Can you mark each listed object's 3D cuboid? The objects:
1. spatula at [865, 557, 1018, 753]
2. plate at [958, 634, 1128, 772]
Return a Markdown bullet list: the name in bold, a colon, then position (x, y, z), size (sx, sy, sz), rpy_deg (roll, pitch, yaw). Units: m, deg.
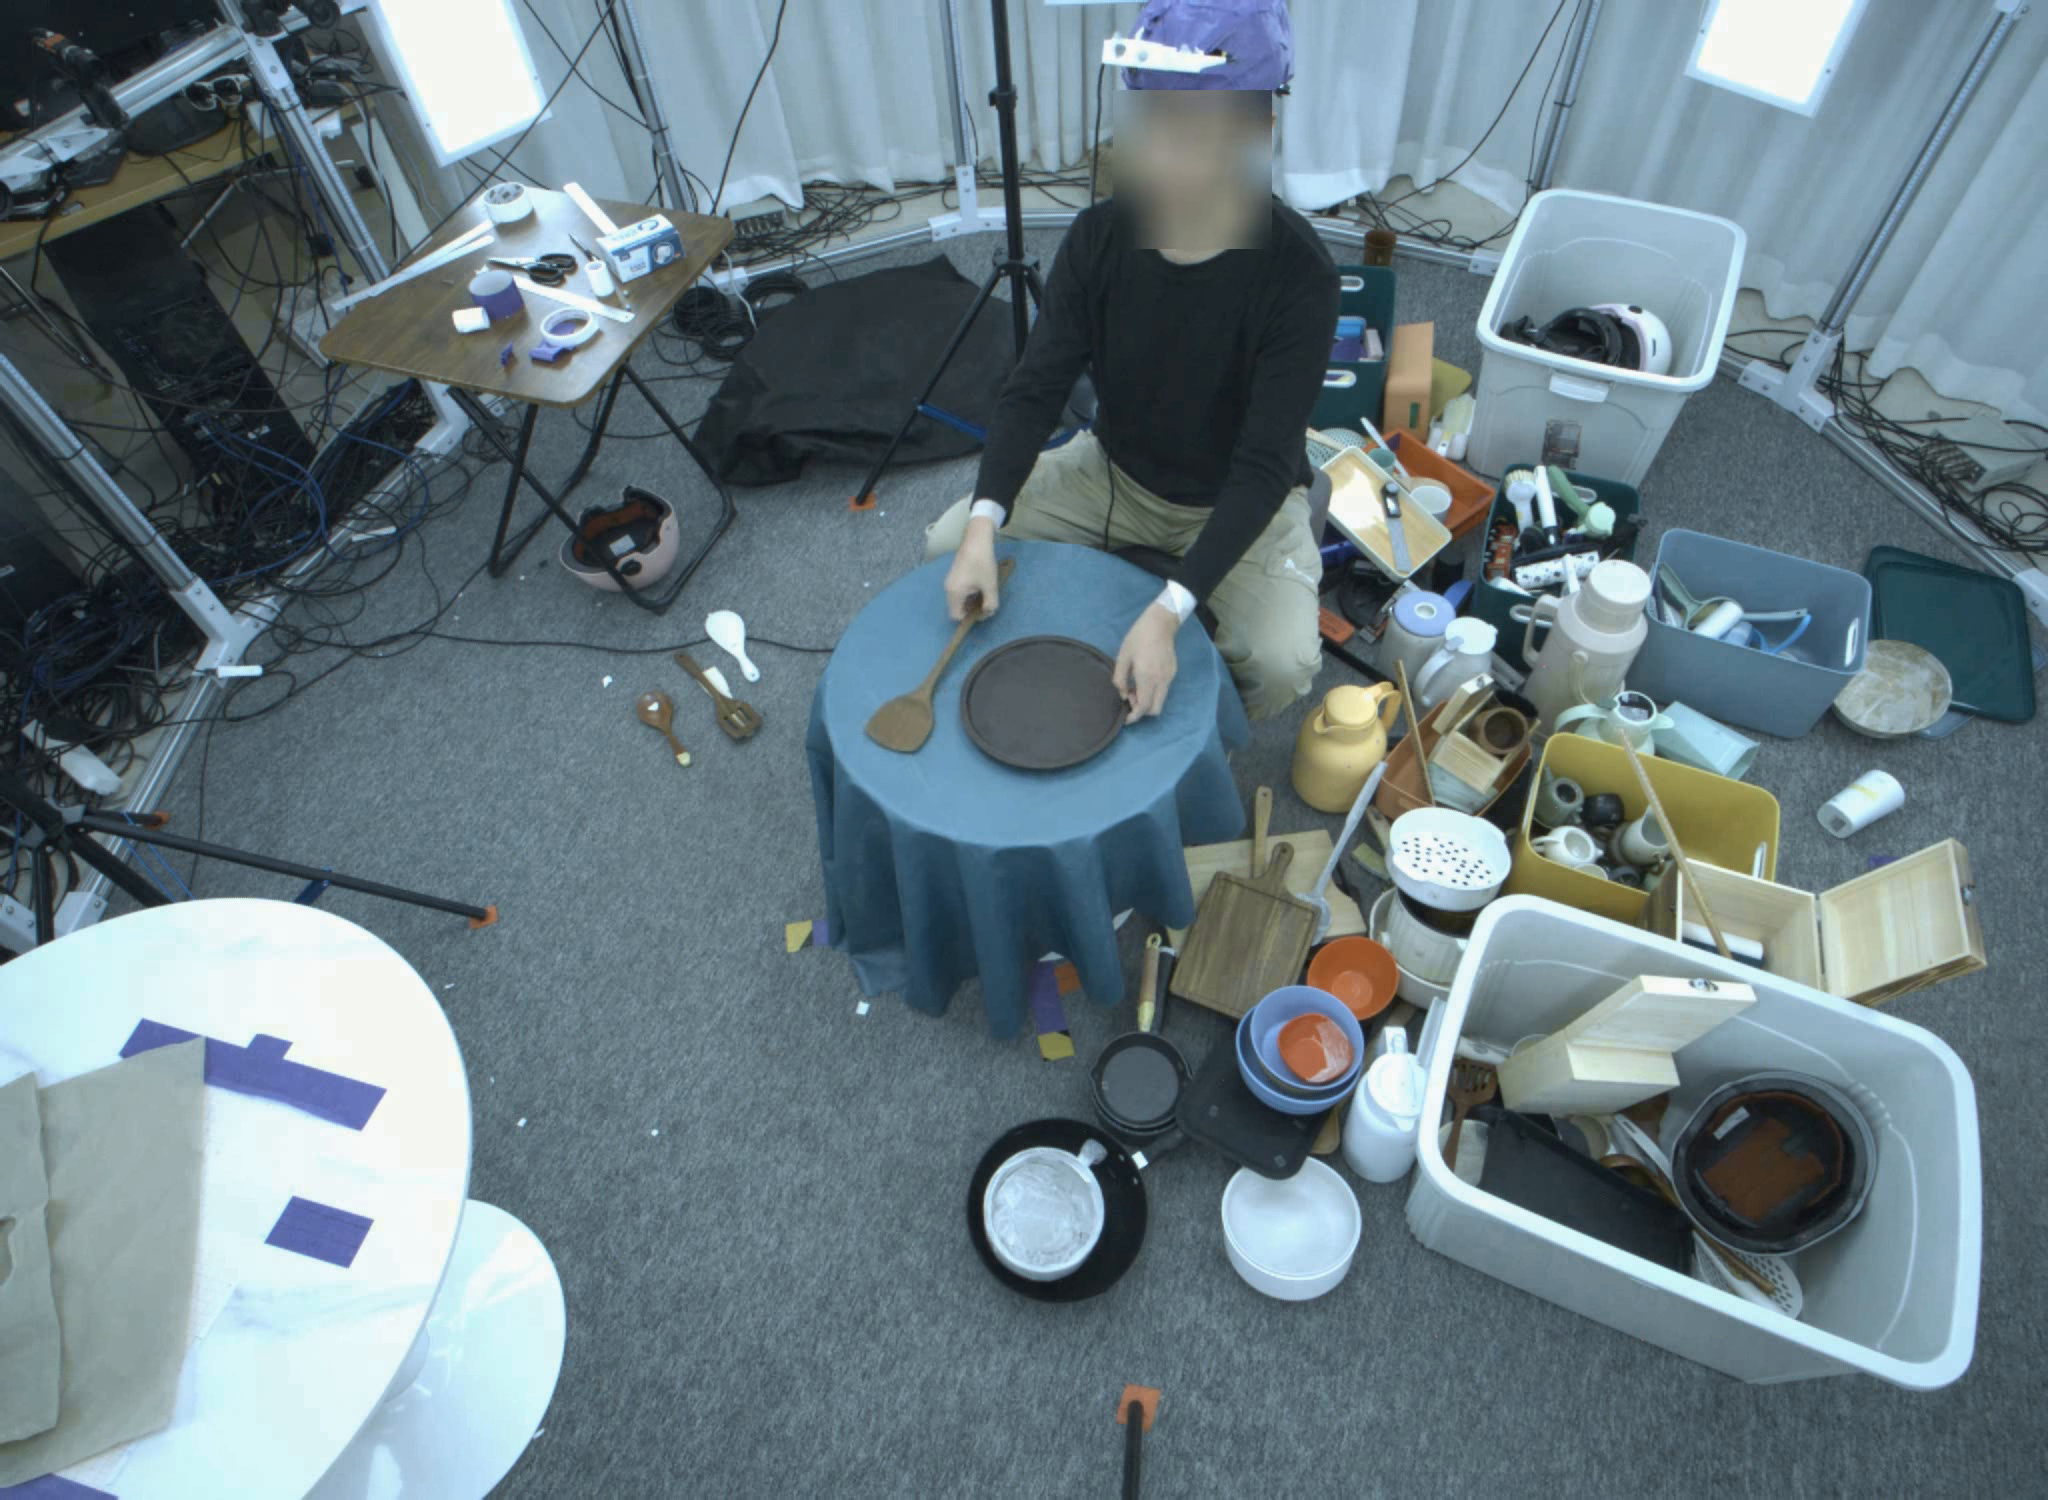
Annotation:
- **spatula**: position (-0.110, -0.155, 1.871), size (0.095, 0.016, 0.386), rpy_deg (24, 67, 17)
- **plate**: position (0.029, -0.071, 1.822), size (0.254, 0.029, 0.252), rpy_deg (-1, 55, 3)
